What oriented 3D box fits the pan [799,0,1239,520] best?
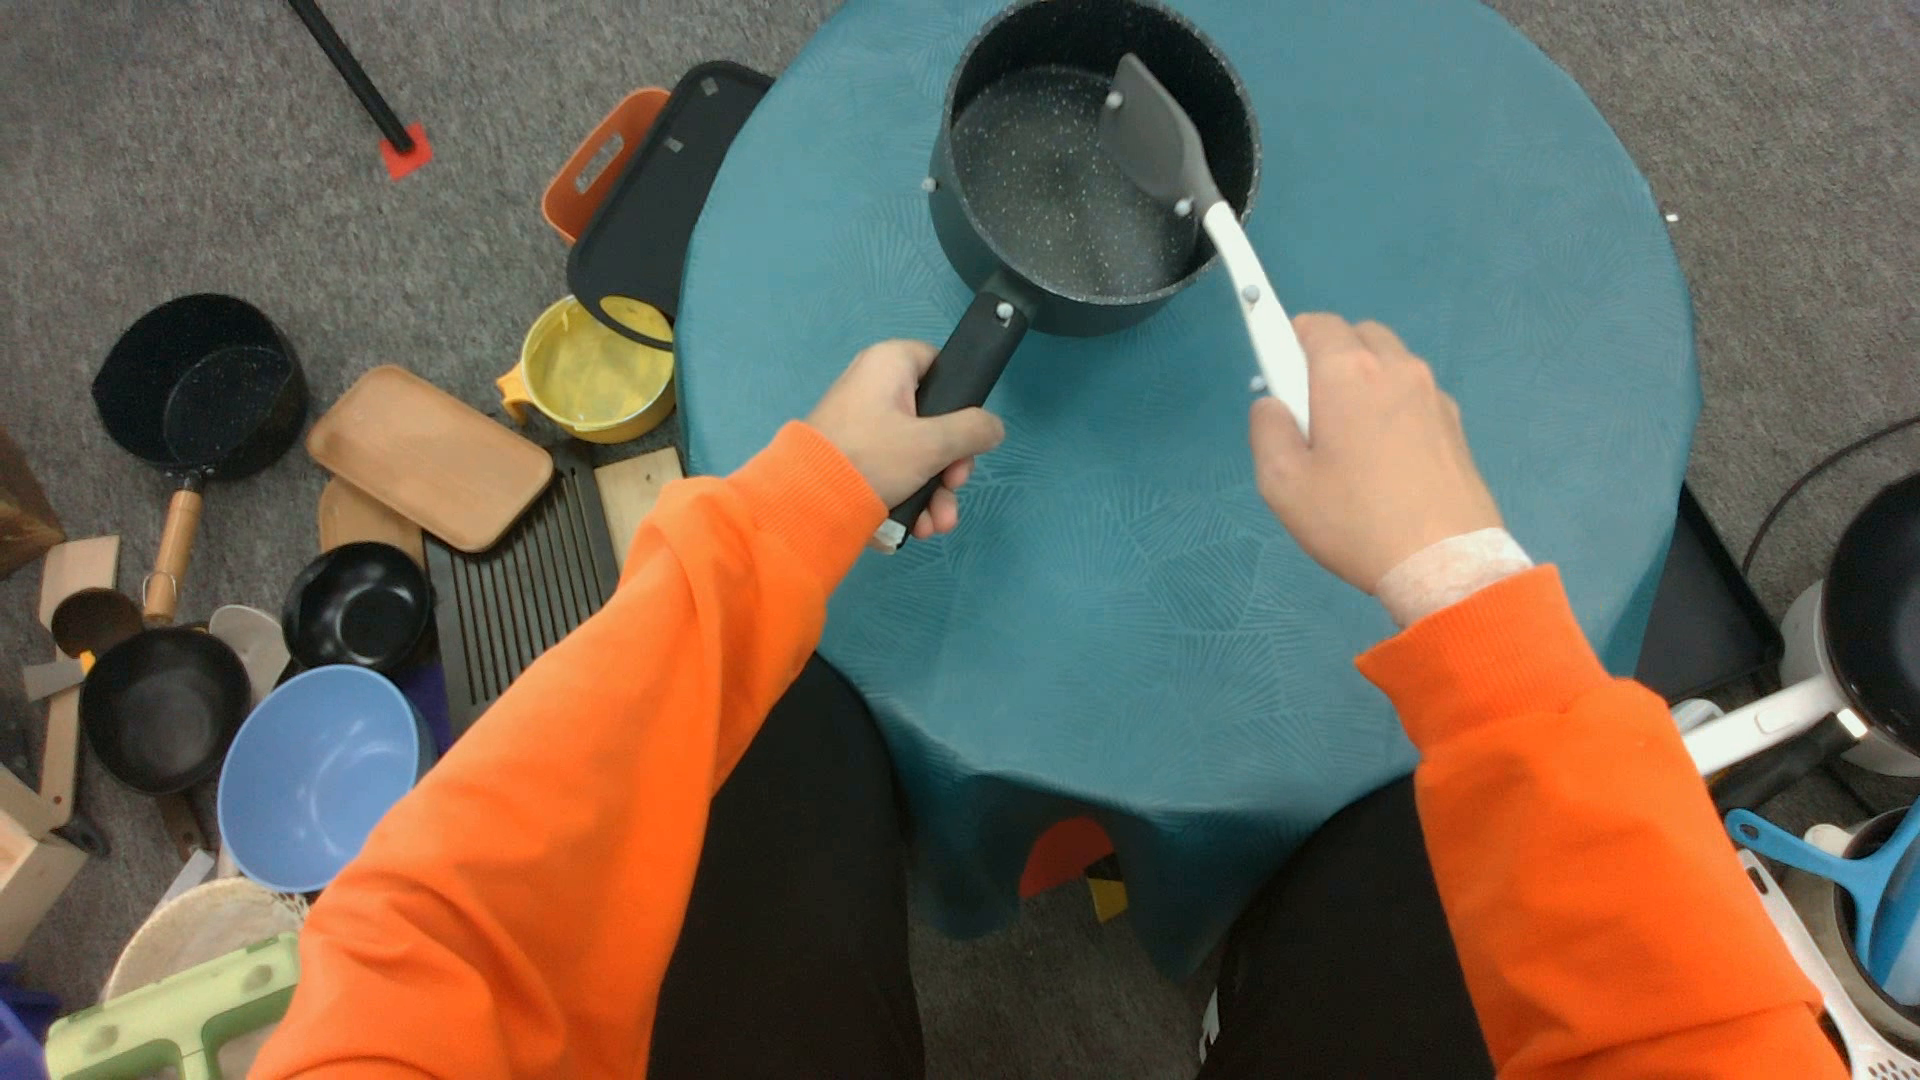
[{"bbox_3d":[0.017,-0.143,0.723,0.172,0.086,0.329,33,74,-4],"label":"pan"}]

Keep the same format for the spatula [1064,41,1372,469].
[{"bbox_3d":[0.117,-0.146,0.671,0.032,0.058,0.288,-4,49,-23],"label":"spatula"}]
